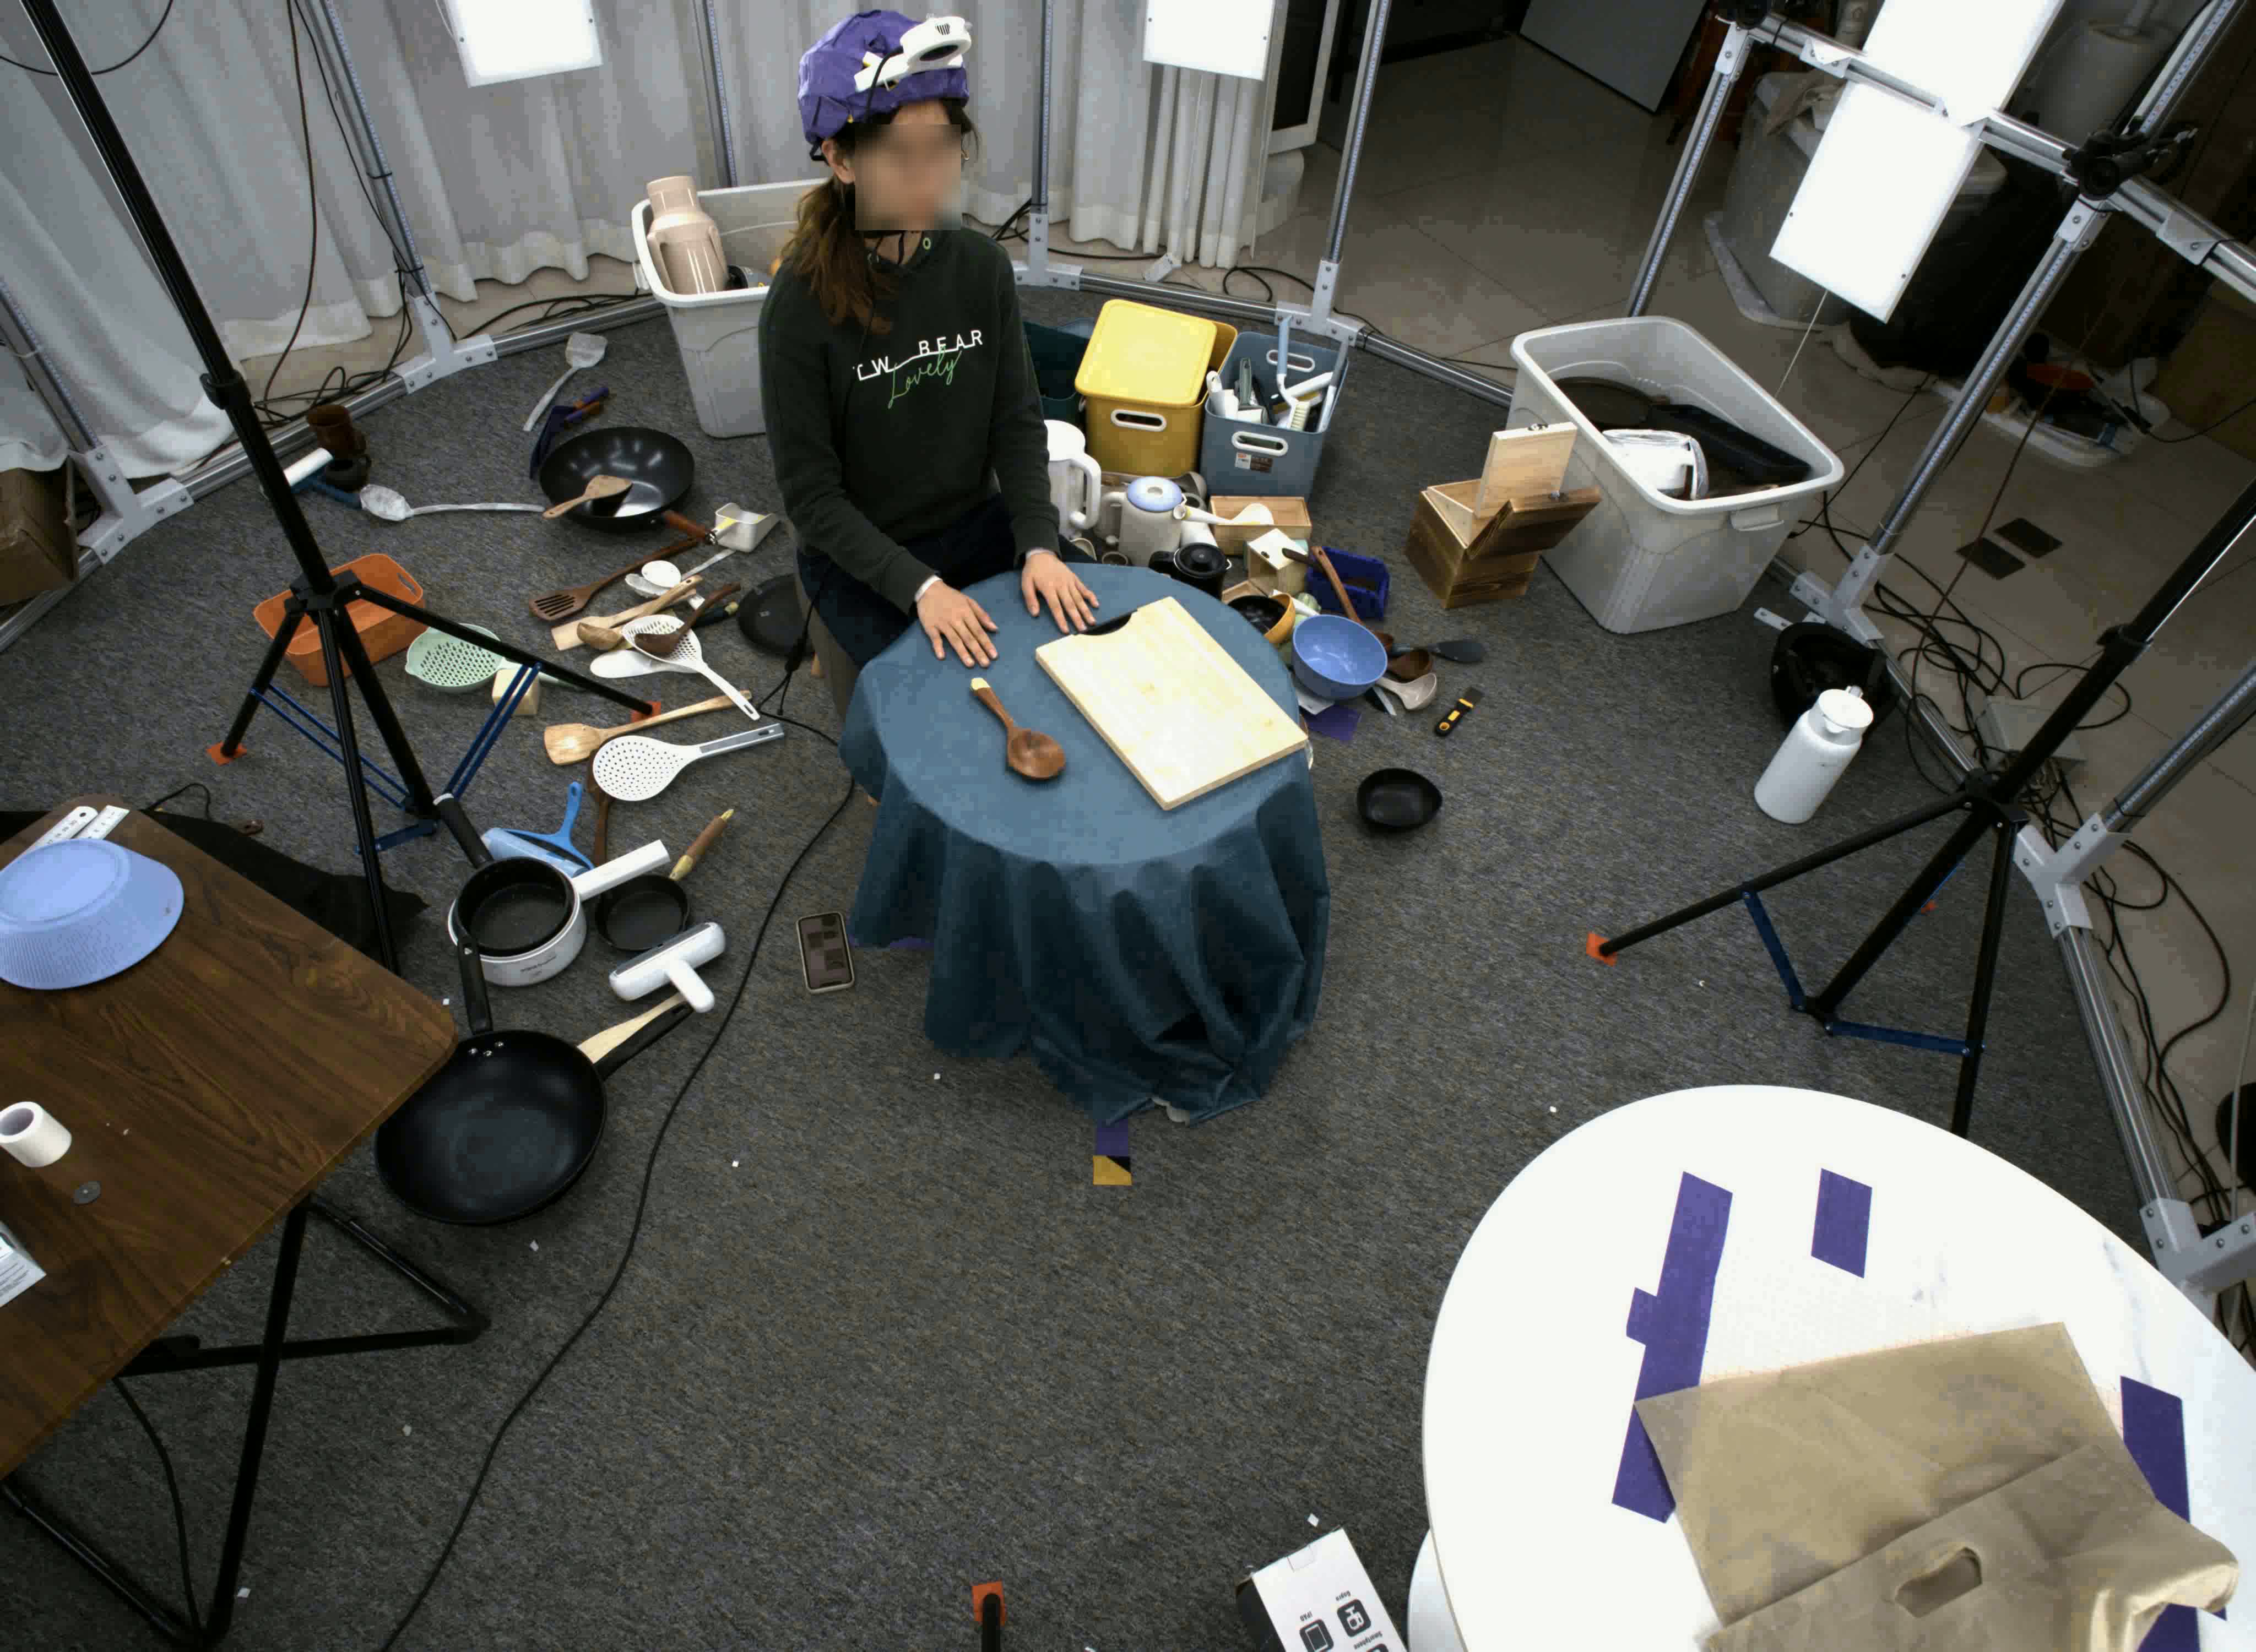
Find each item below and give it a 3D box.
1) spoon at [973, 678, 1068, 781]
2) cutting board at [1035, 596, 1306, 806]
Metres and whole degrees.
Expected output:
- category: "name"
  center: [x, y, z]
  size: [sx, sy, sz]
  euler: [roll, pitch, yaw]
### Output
- category: "spoon"
  center: [-0.156, -0.135, 1.780]
  size: [0.076, 0.017, 0.220]
  euler: [-25, 55, -21]
- category: "cutting board"
  center: [0.055, -0.188, 1.841]
  size: [0.252, 0.023, 0.355]
  euler: [-25, 55, -24]
